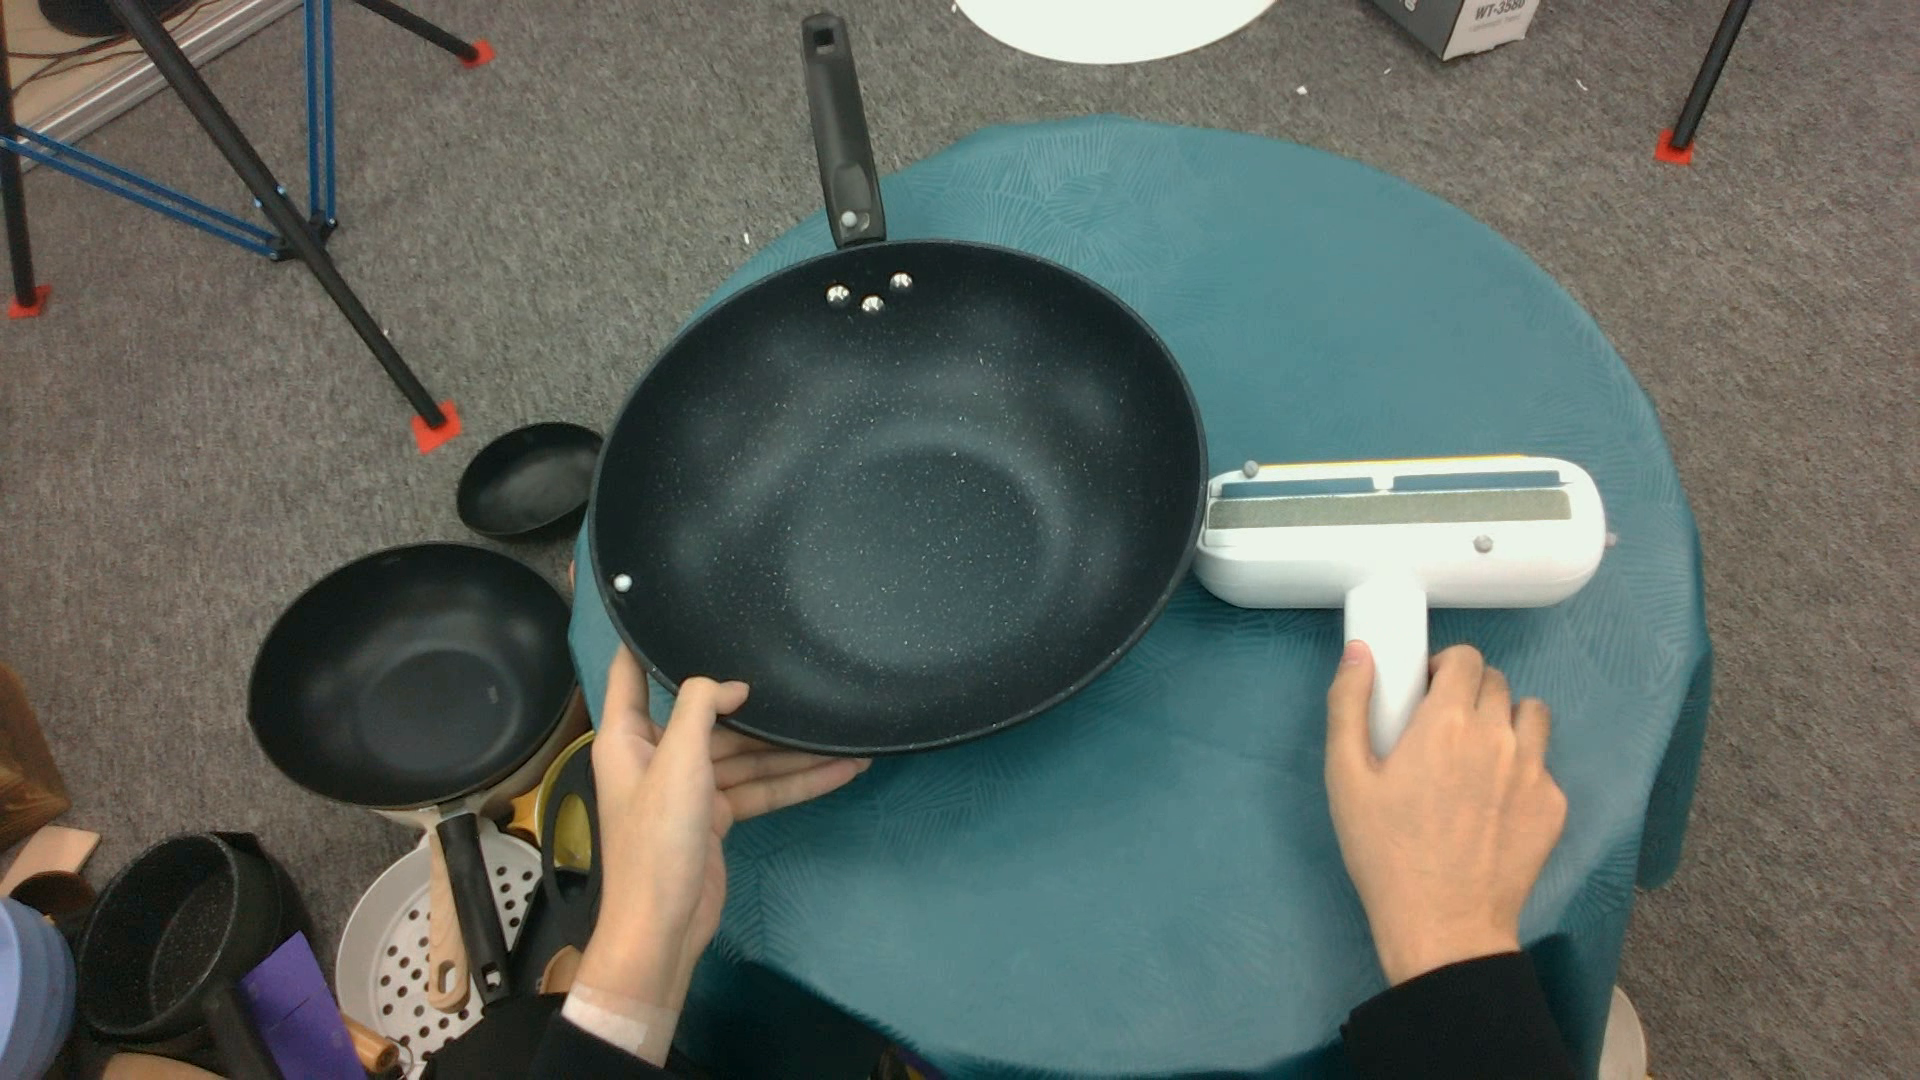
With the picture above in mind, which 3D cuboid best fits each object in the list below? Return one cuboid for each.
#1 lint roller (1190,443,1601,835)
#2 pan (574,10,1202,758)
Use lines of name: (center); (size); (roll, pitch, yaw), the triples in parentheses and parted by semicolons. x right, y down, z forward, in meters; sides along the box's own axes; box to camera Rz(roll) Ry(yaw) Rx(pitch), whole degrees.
lint roller: (0.199, 0.042, 0.657); (0.192, 0.074, 0.193); (4, 60, 17)
pan: (-0.049, -0.093, 0.747); (0.310, 0.111, 0.478); (-10, 58, -2)
